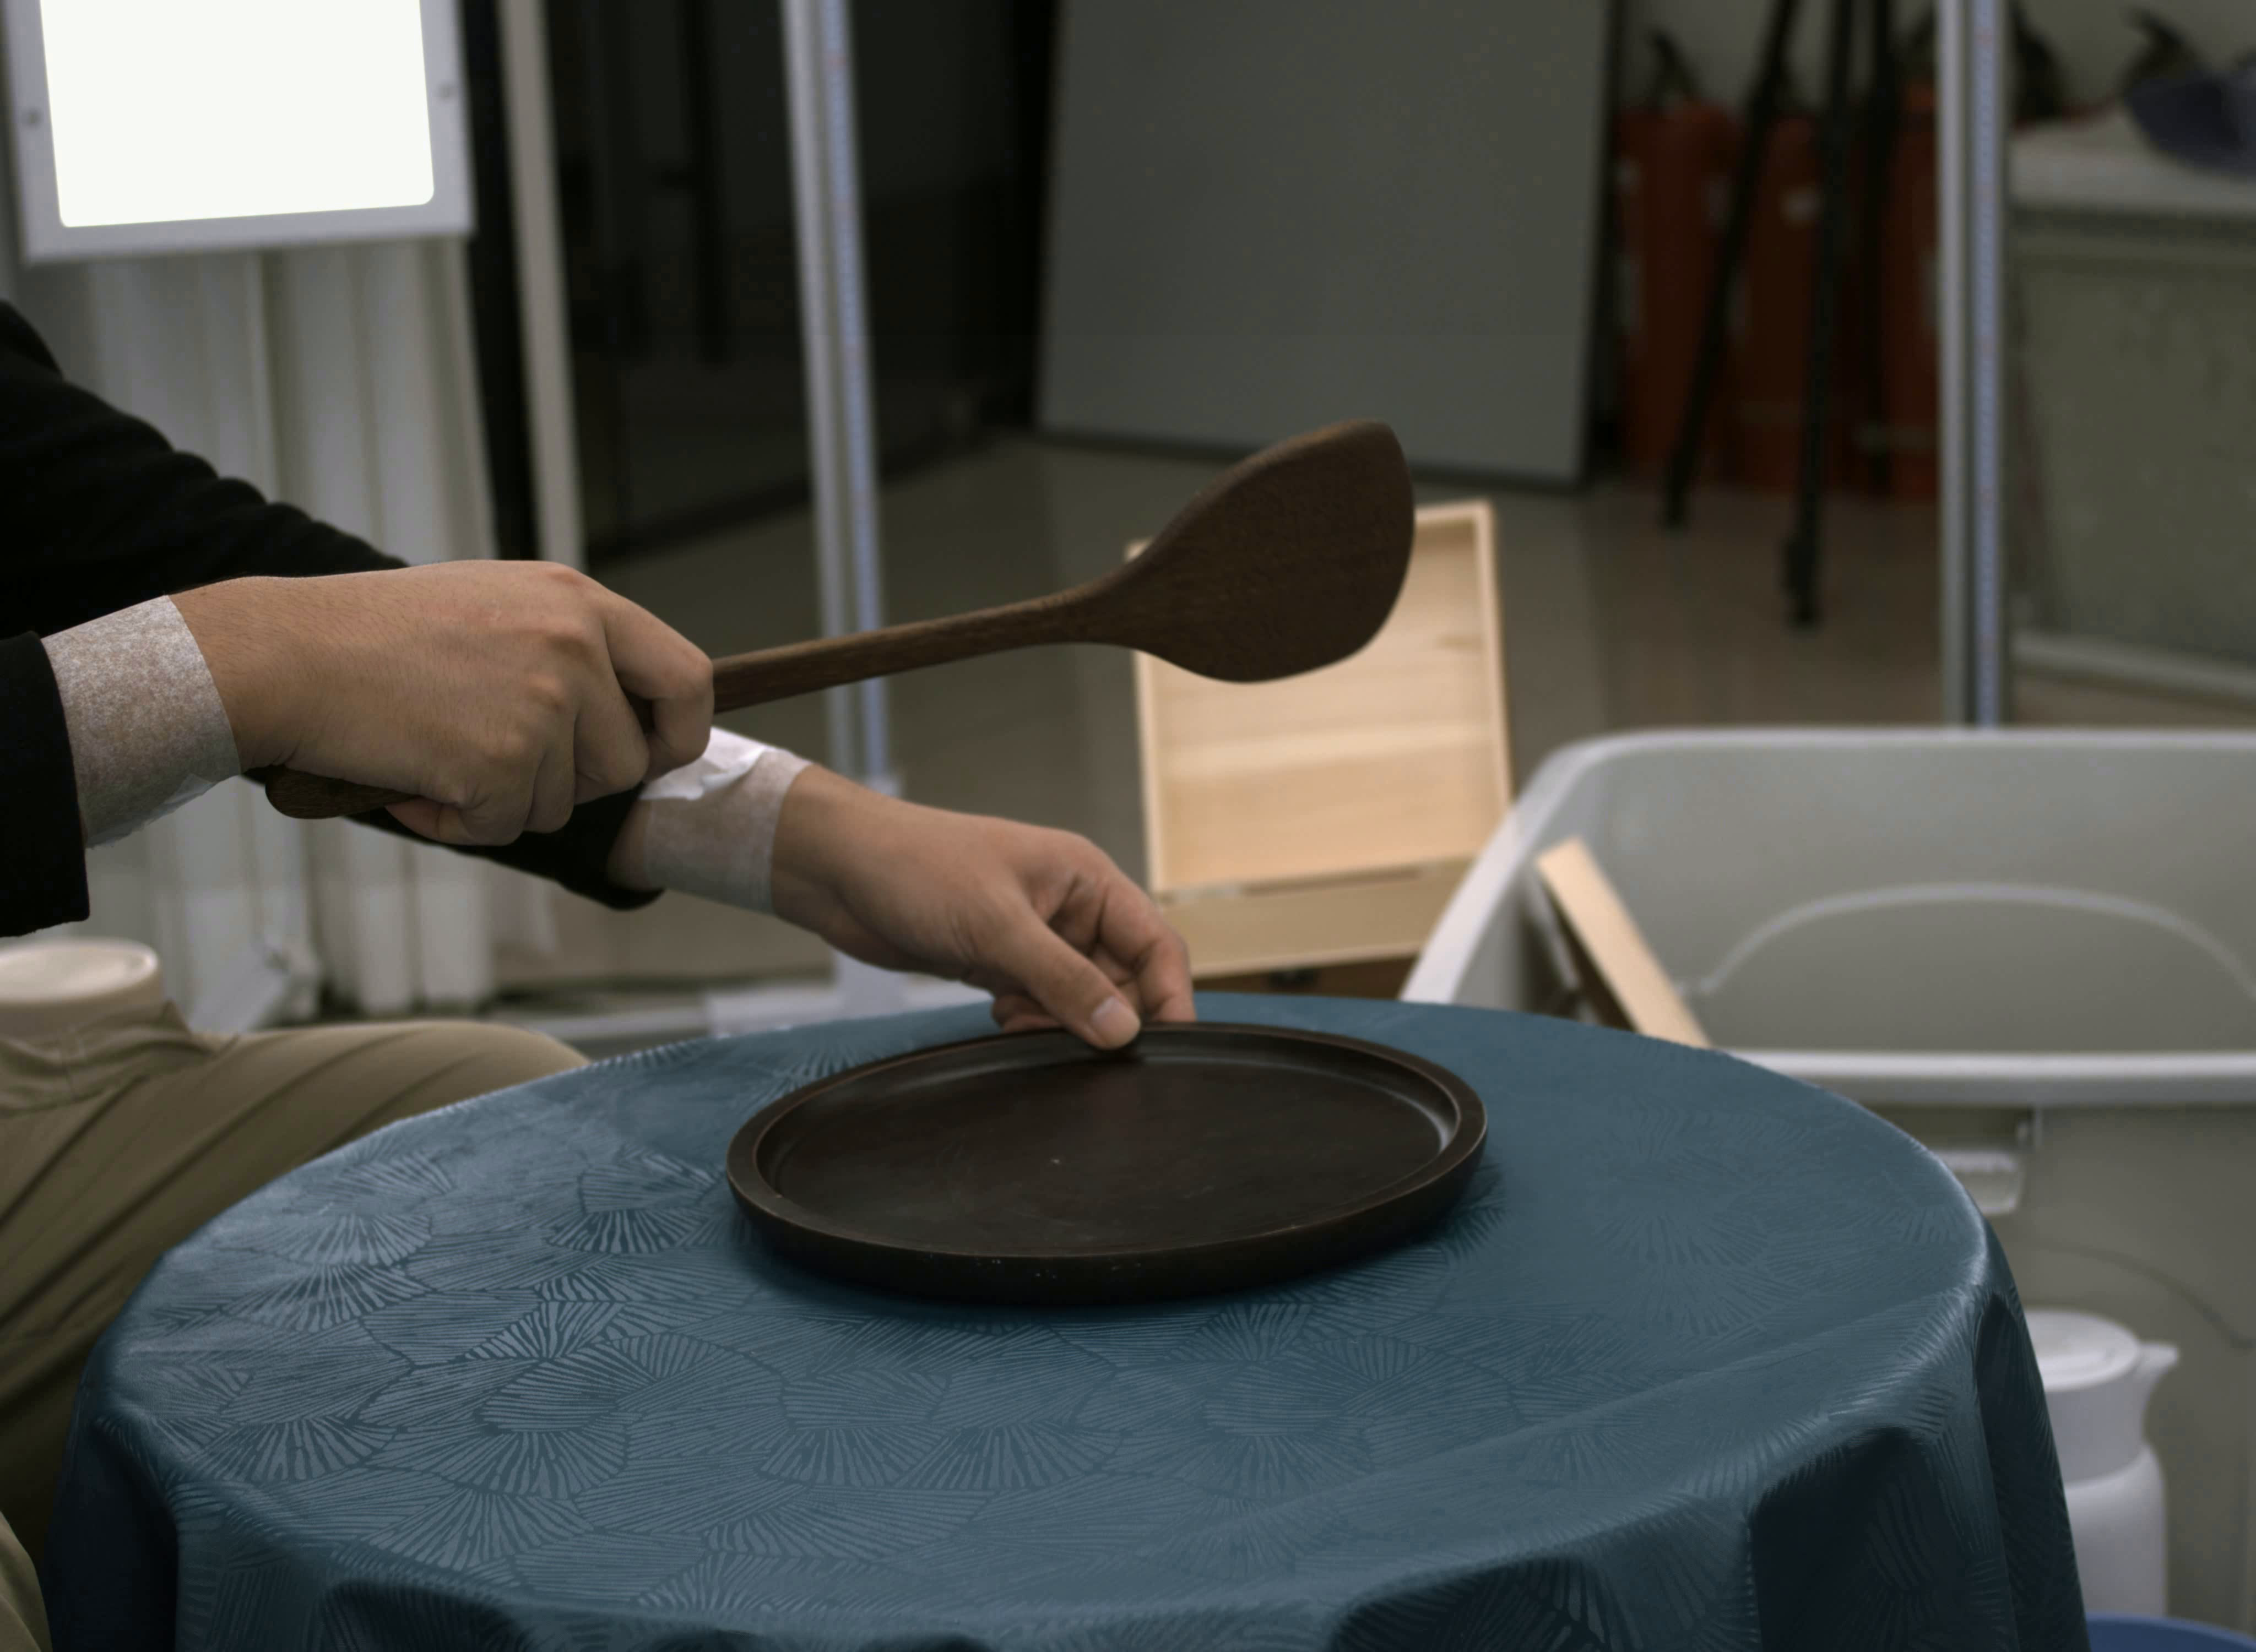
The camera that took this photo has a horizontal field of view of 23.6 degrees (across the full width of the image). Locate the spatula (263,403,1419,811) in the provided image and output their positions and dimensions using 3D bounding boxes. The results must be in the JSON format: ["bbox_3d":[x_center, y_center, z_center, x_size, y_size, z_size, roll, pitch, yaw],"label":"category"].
[{"bbox_3d":[-0.084,-0.056,1.689,0.379,0.097,0.016,-13,39,-15],"label":"spatula"}]

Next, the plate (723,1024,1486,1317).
[{"bbox_3d":[-0.007,0.111,1.767,0.251,0.029,0.255,-4,15,0],"label":"plate"}]
